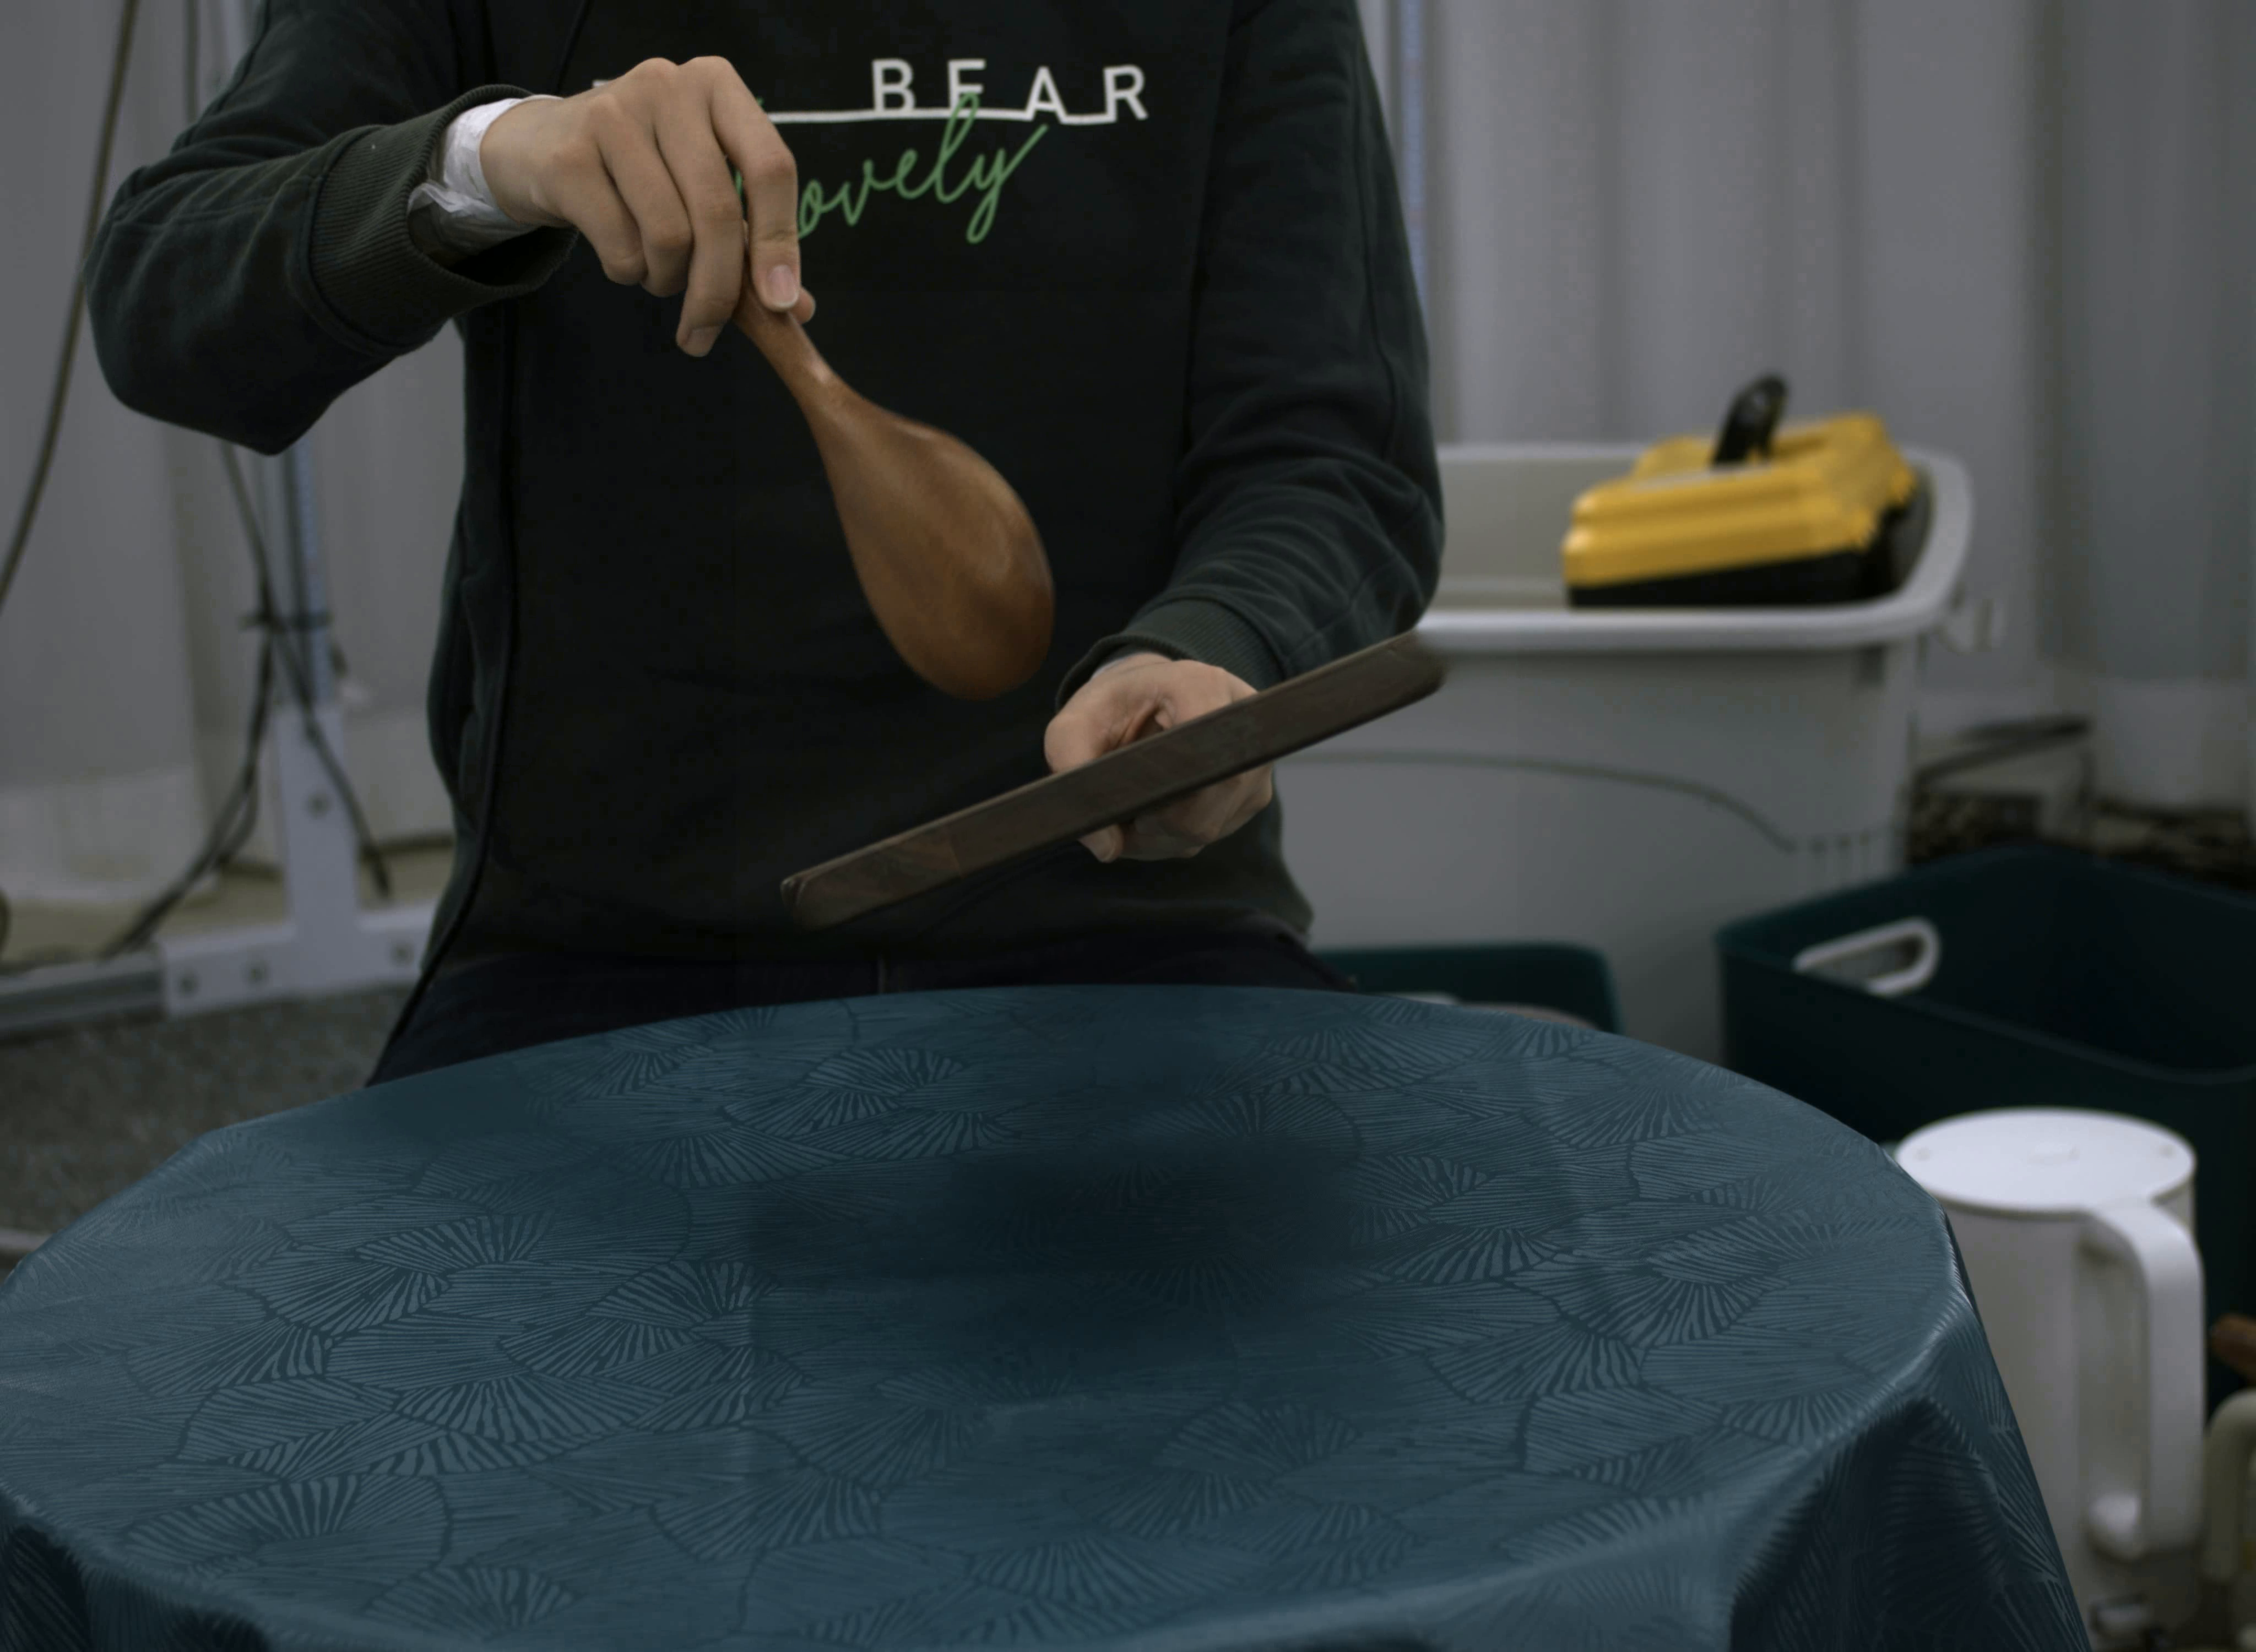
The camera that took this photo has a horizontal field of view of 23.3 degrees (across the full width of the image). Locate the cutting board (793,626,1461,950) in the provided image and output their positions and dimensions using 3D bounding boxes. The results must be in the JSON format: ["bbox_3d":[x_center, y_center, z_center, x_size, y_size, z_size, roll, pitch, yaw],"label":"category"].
[{"bbox_3d":[0.003,-0.012,1.688,0.200,0.023,0.352,-22,0,2],"label":"cutting board"}]

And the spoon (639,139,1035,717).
[{"bbox_3d":[-0.092,-0.125,1.676,0.017,0.075,0.218,-15,63,-38],"label":"spoon"}]
